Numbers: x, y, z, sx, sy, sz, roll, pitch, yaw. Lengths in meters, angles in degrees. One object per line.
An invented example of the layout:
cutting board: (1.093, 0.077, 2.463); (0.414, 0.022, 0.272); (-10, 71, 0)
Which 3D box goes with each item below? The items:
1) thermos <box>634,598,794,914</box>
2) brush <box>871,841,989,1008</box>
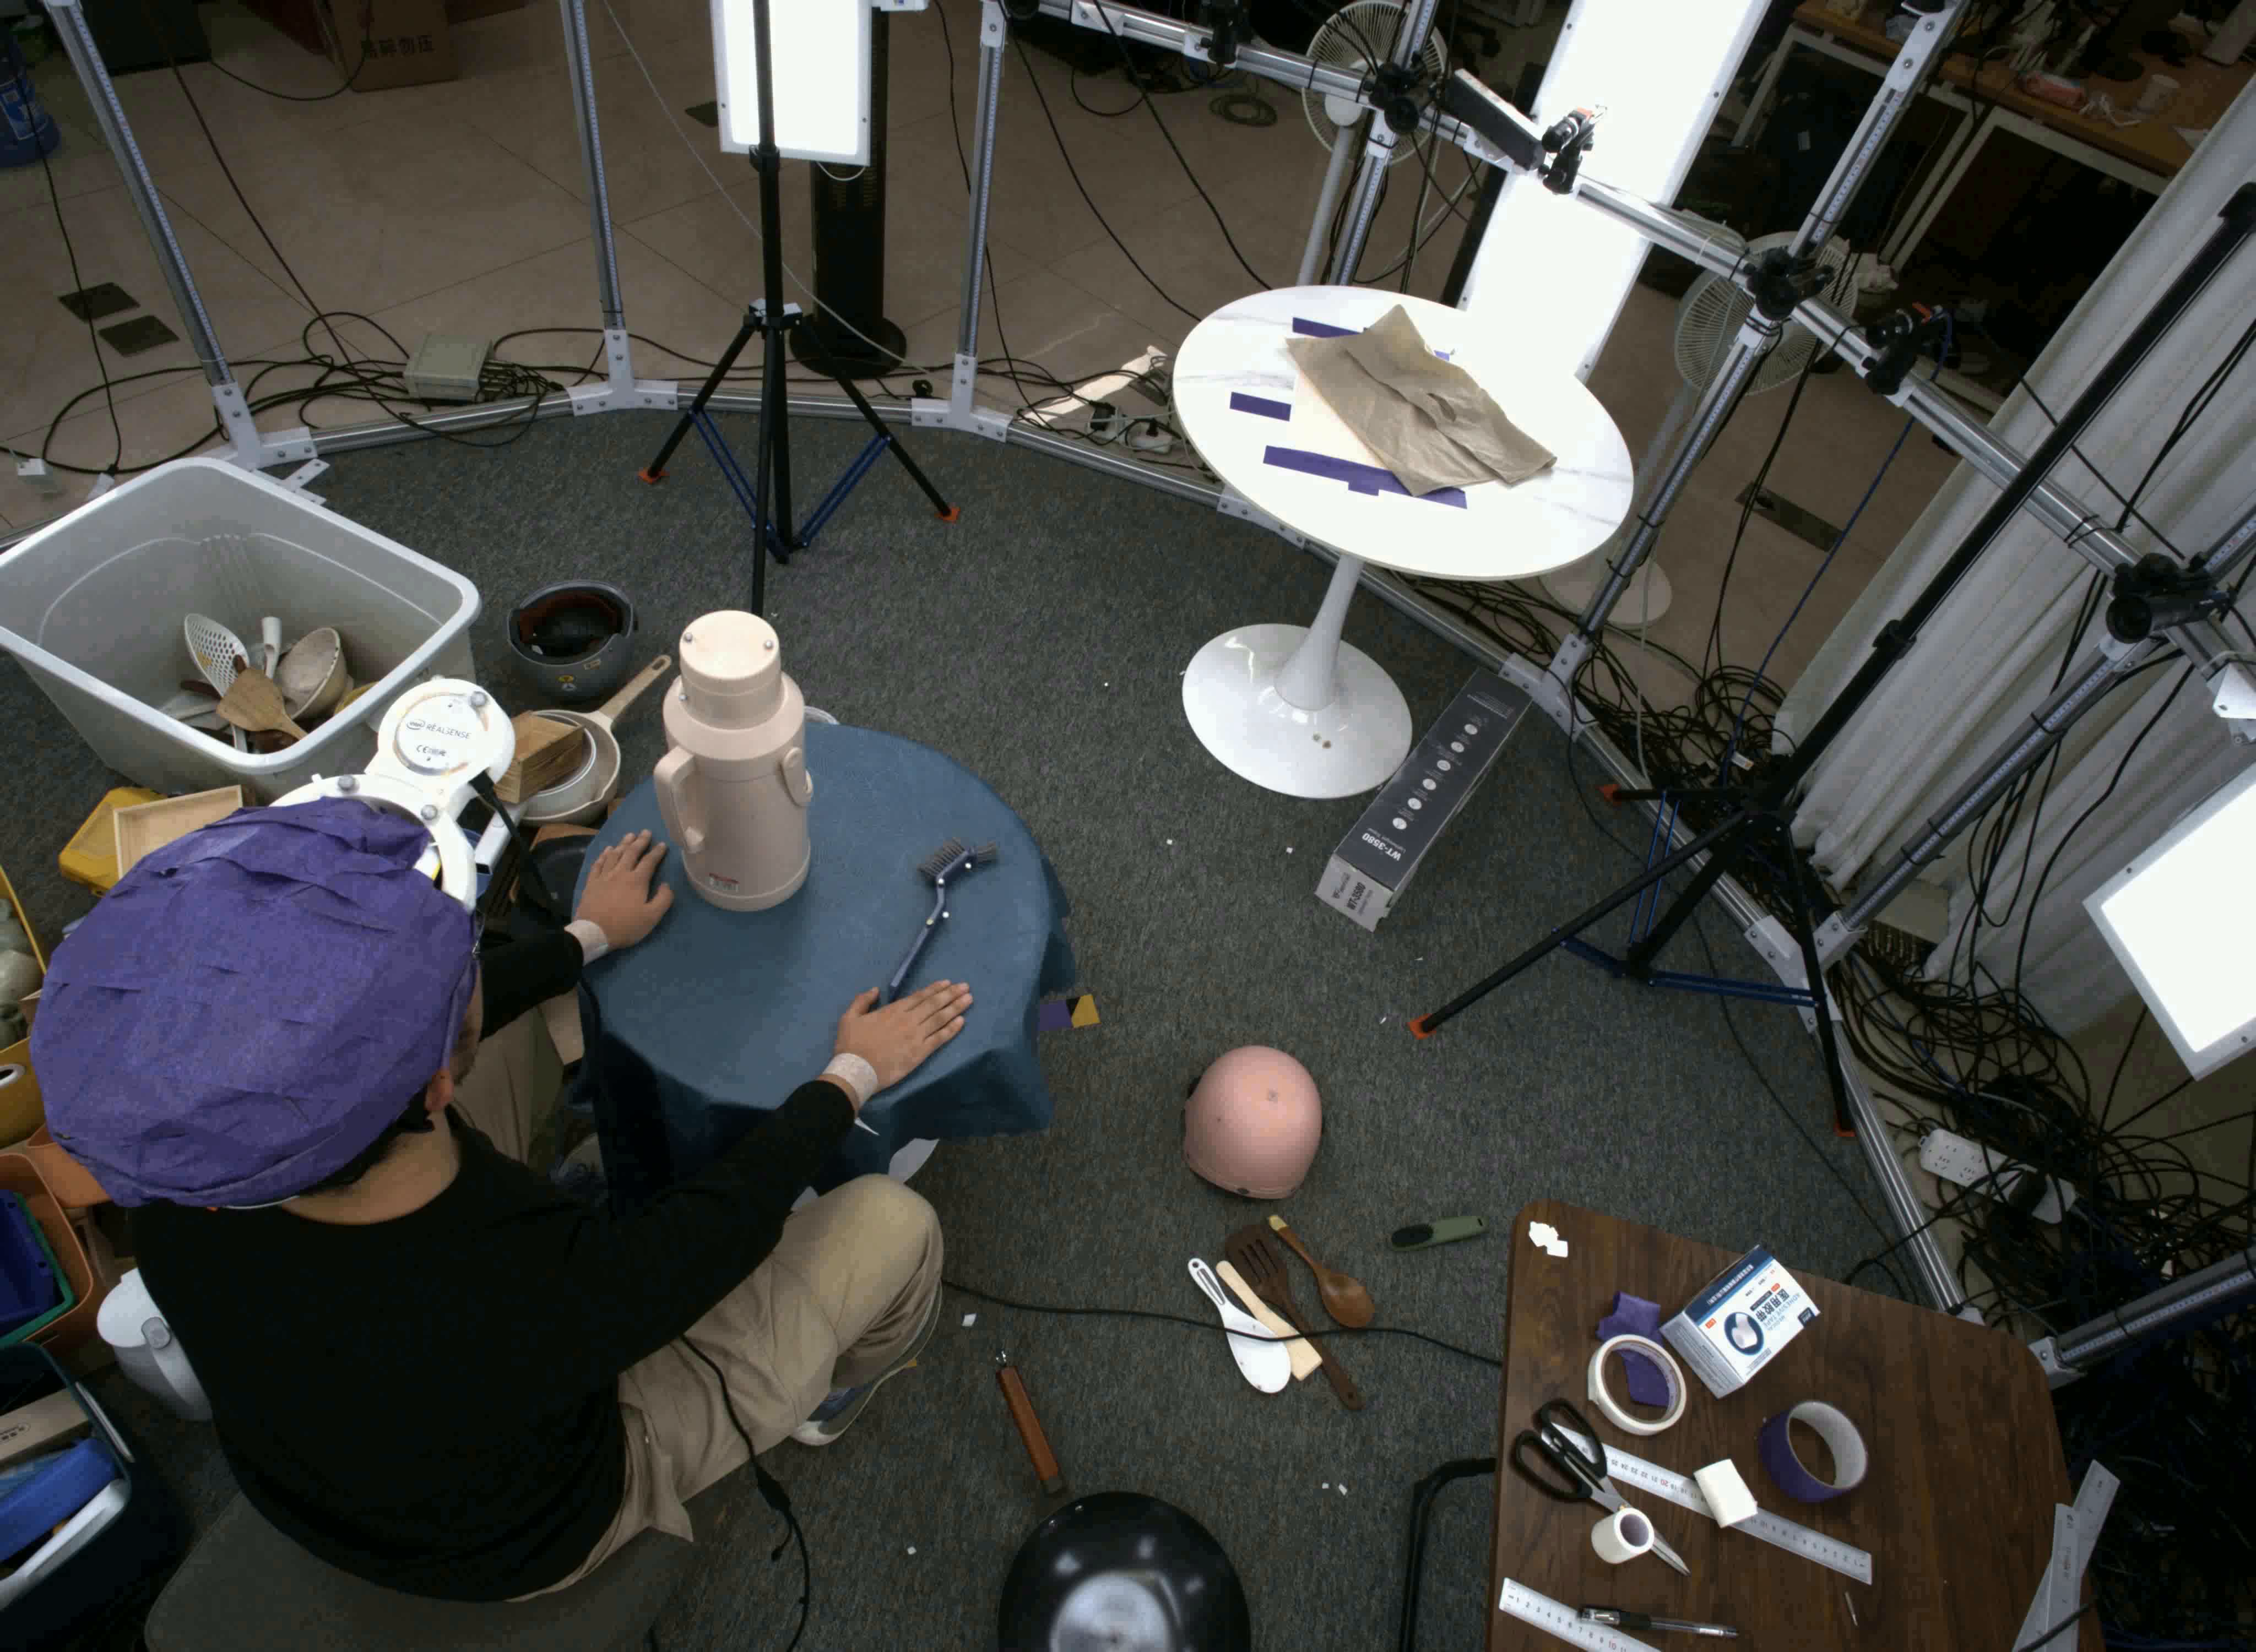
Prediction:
thermos: (-0.486, -0.069, 1.497); (0.172, 0.414, 0.206); (30, 52, 10)
brush: (-0.254, 0.118, 1.654); (0.095, 0.034, 0.269); (15, 49, -1)
